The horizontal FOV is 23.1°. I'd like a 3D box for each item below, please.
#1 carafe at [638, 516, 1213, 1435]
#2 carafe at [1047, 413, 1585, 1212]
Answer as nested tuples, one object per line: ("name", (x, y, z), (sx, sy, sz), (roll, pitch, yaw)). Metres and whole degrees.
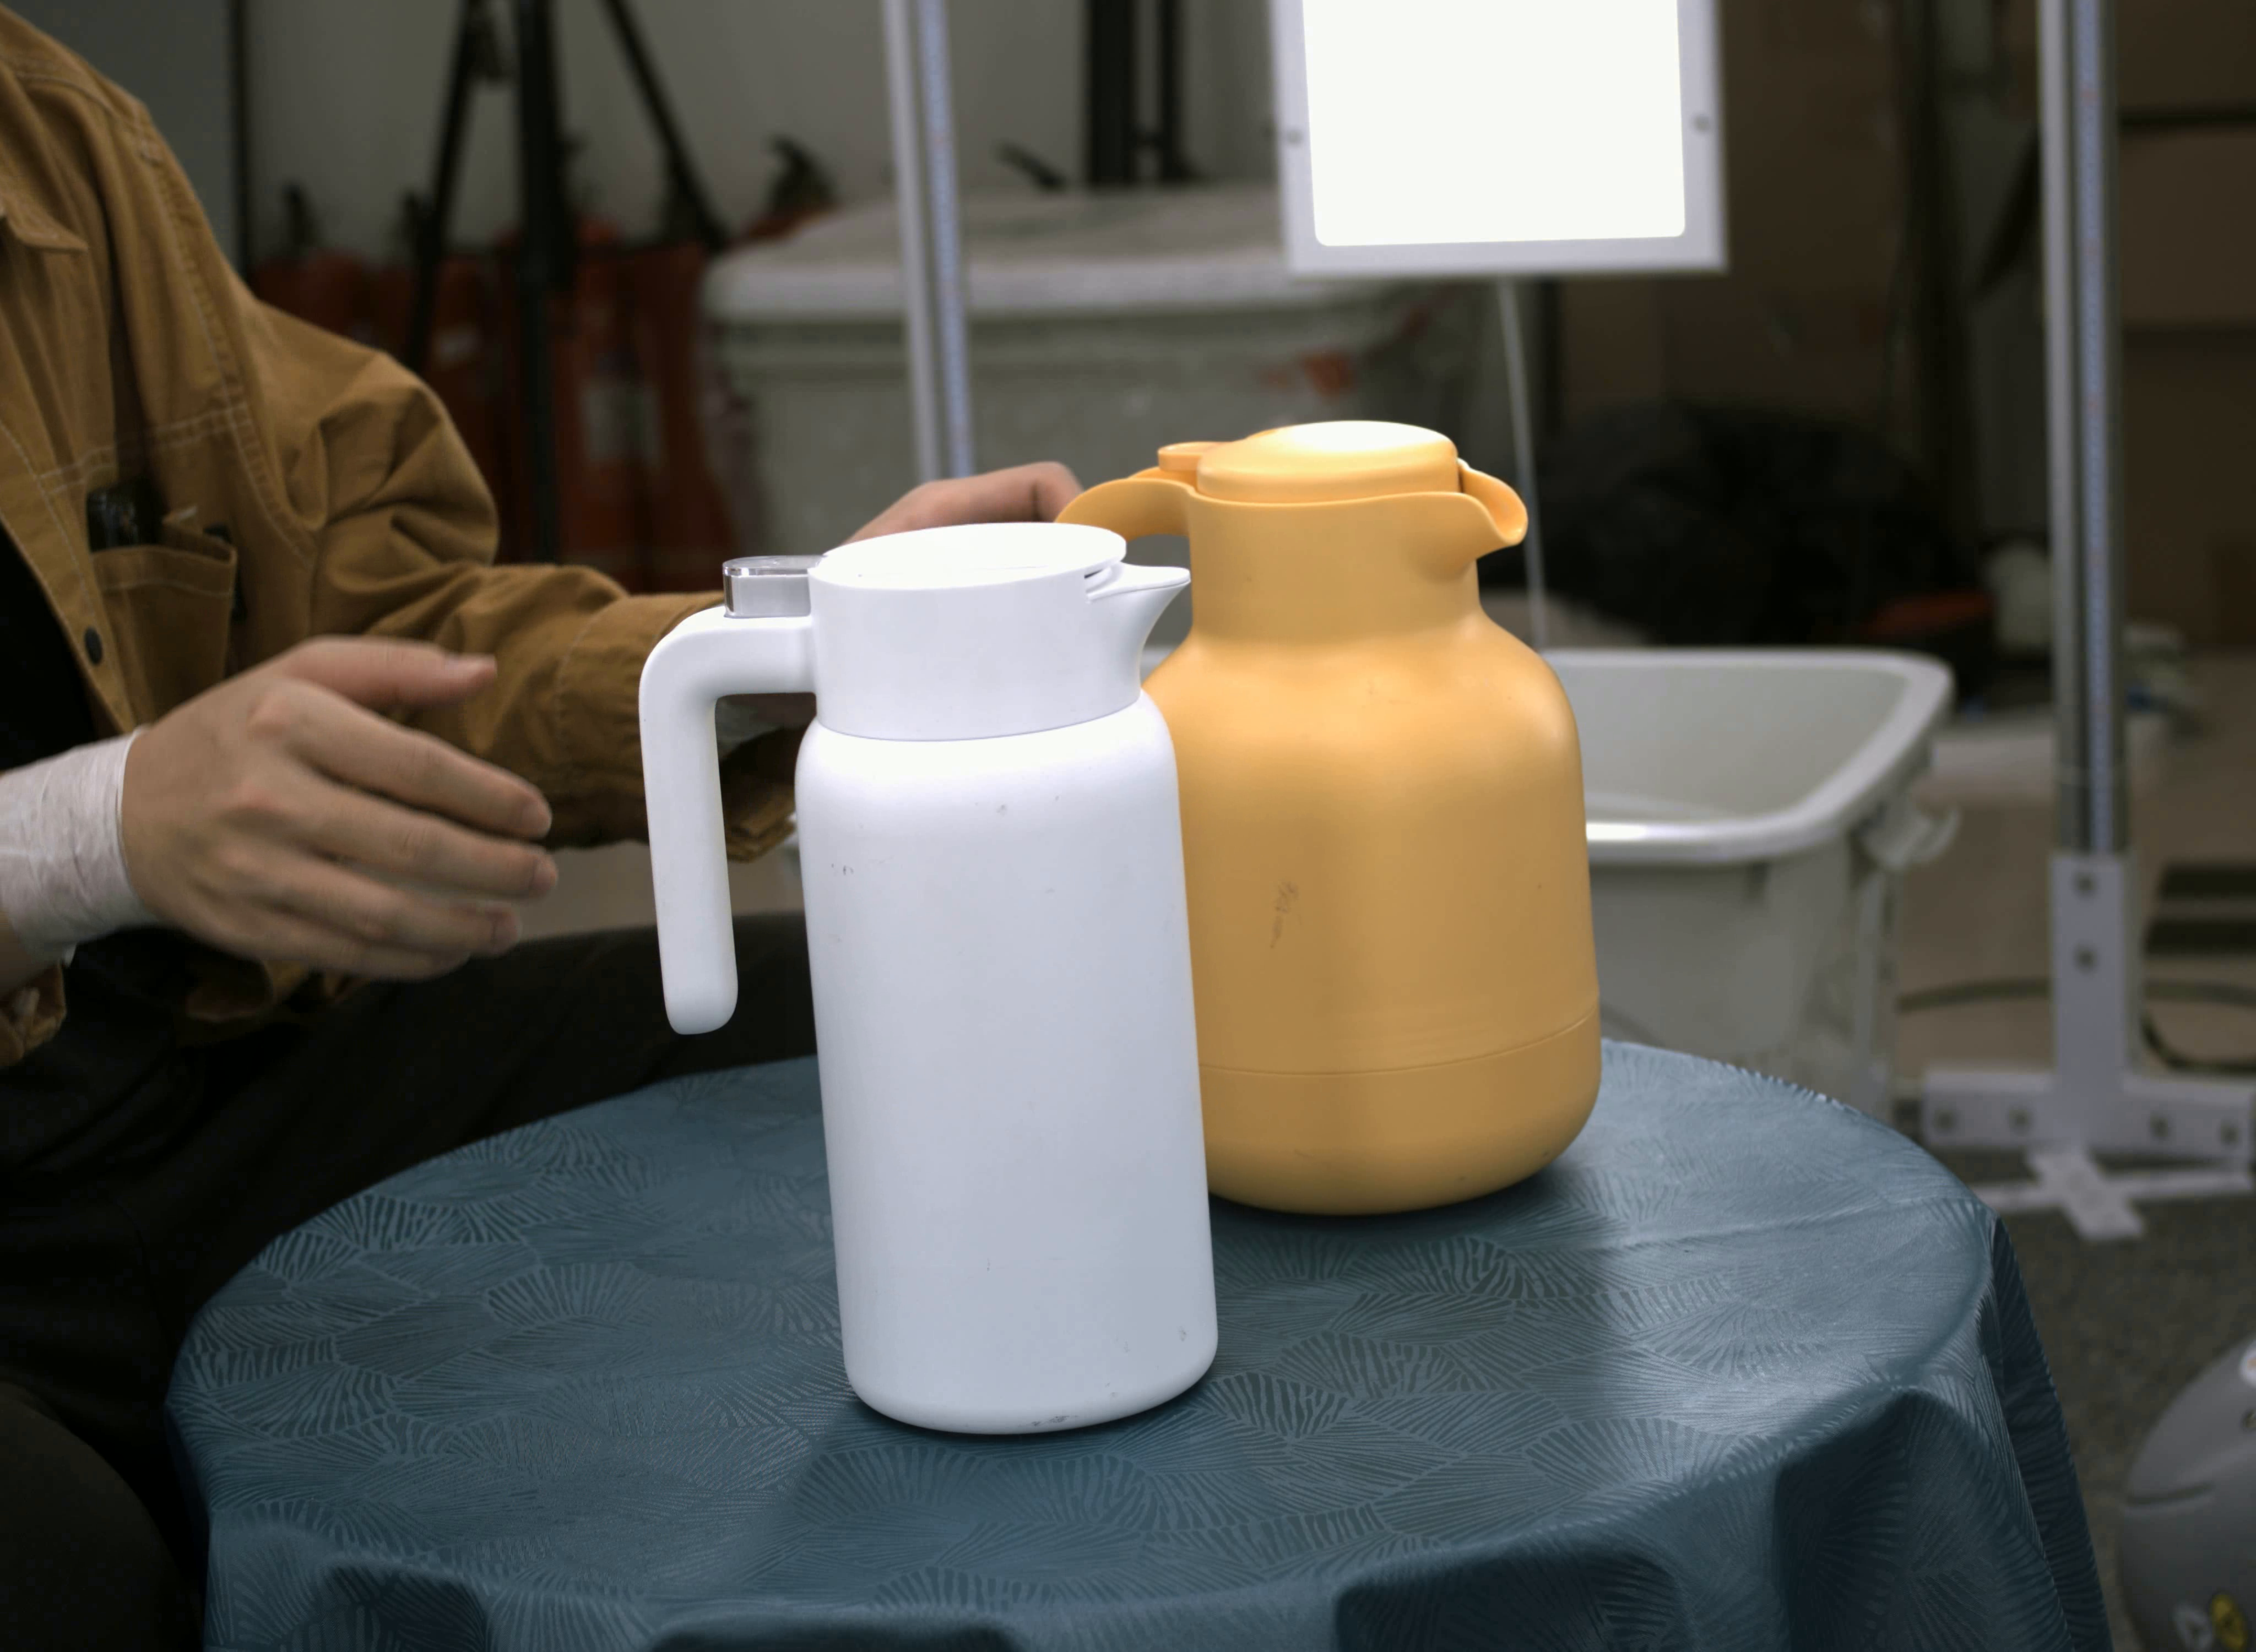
("carafe", (-0.057, 0.045, 1.689), (0.174, 0.270, 0.122), (-2, 16, 11))
("carafe", (0.059, -0.011, 1.882), (0.206, 0.261, 0.159), (9, 16, 39))
